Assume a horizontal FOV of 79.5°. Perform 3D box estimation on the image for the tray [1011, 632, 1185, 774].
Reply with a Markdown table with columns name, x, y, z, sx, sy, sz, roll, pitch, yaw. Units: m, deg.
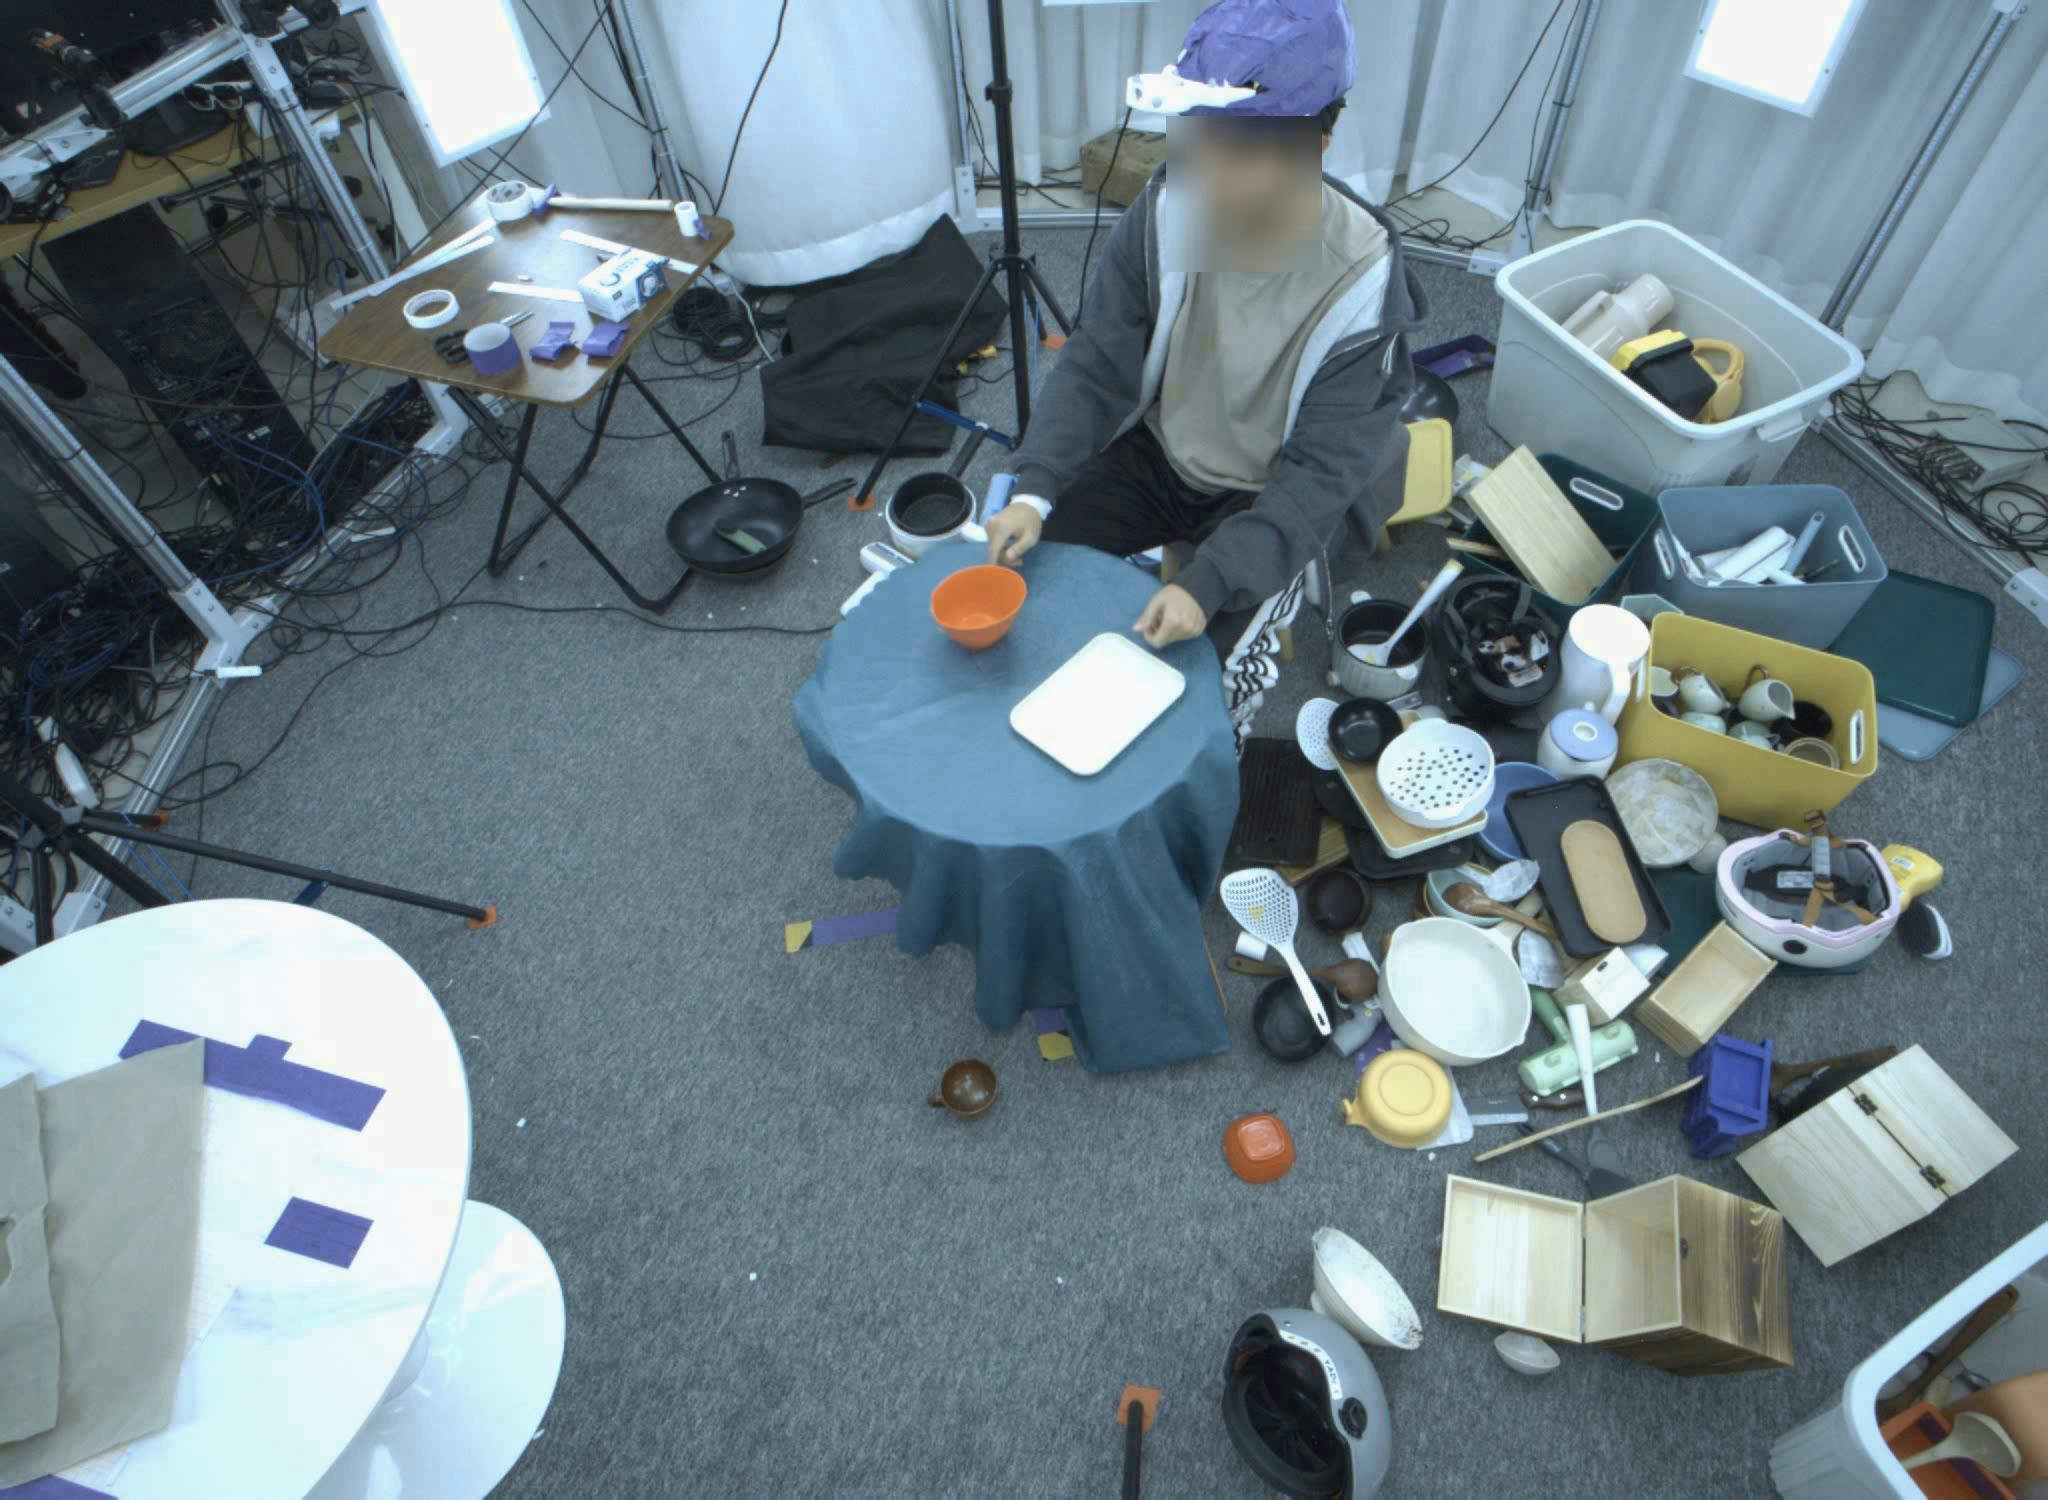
| name | x | y | z | sx | sy | sz | roll | pitch | yaw |
| --- | --- | --- | --- | --- | --- | --- | --- | --- | --- |
| tray | 0.110 | -0.070 | 1.825 | 0.168 | 0.017 | 0.241 | 36 | 63 | 25 |

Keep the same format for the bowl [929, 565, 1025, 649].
| name | x | y | z | sx | sy | sz | roll | pitch | yaw |
| --- | --- | --- | --- | --- | --- | --- | --- | --- | --- |
| bowl | -0.069 | -0.206 | 1.877 | 0.148 | 0.106 | 0.146 | -1 | 55 | 2 |
